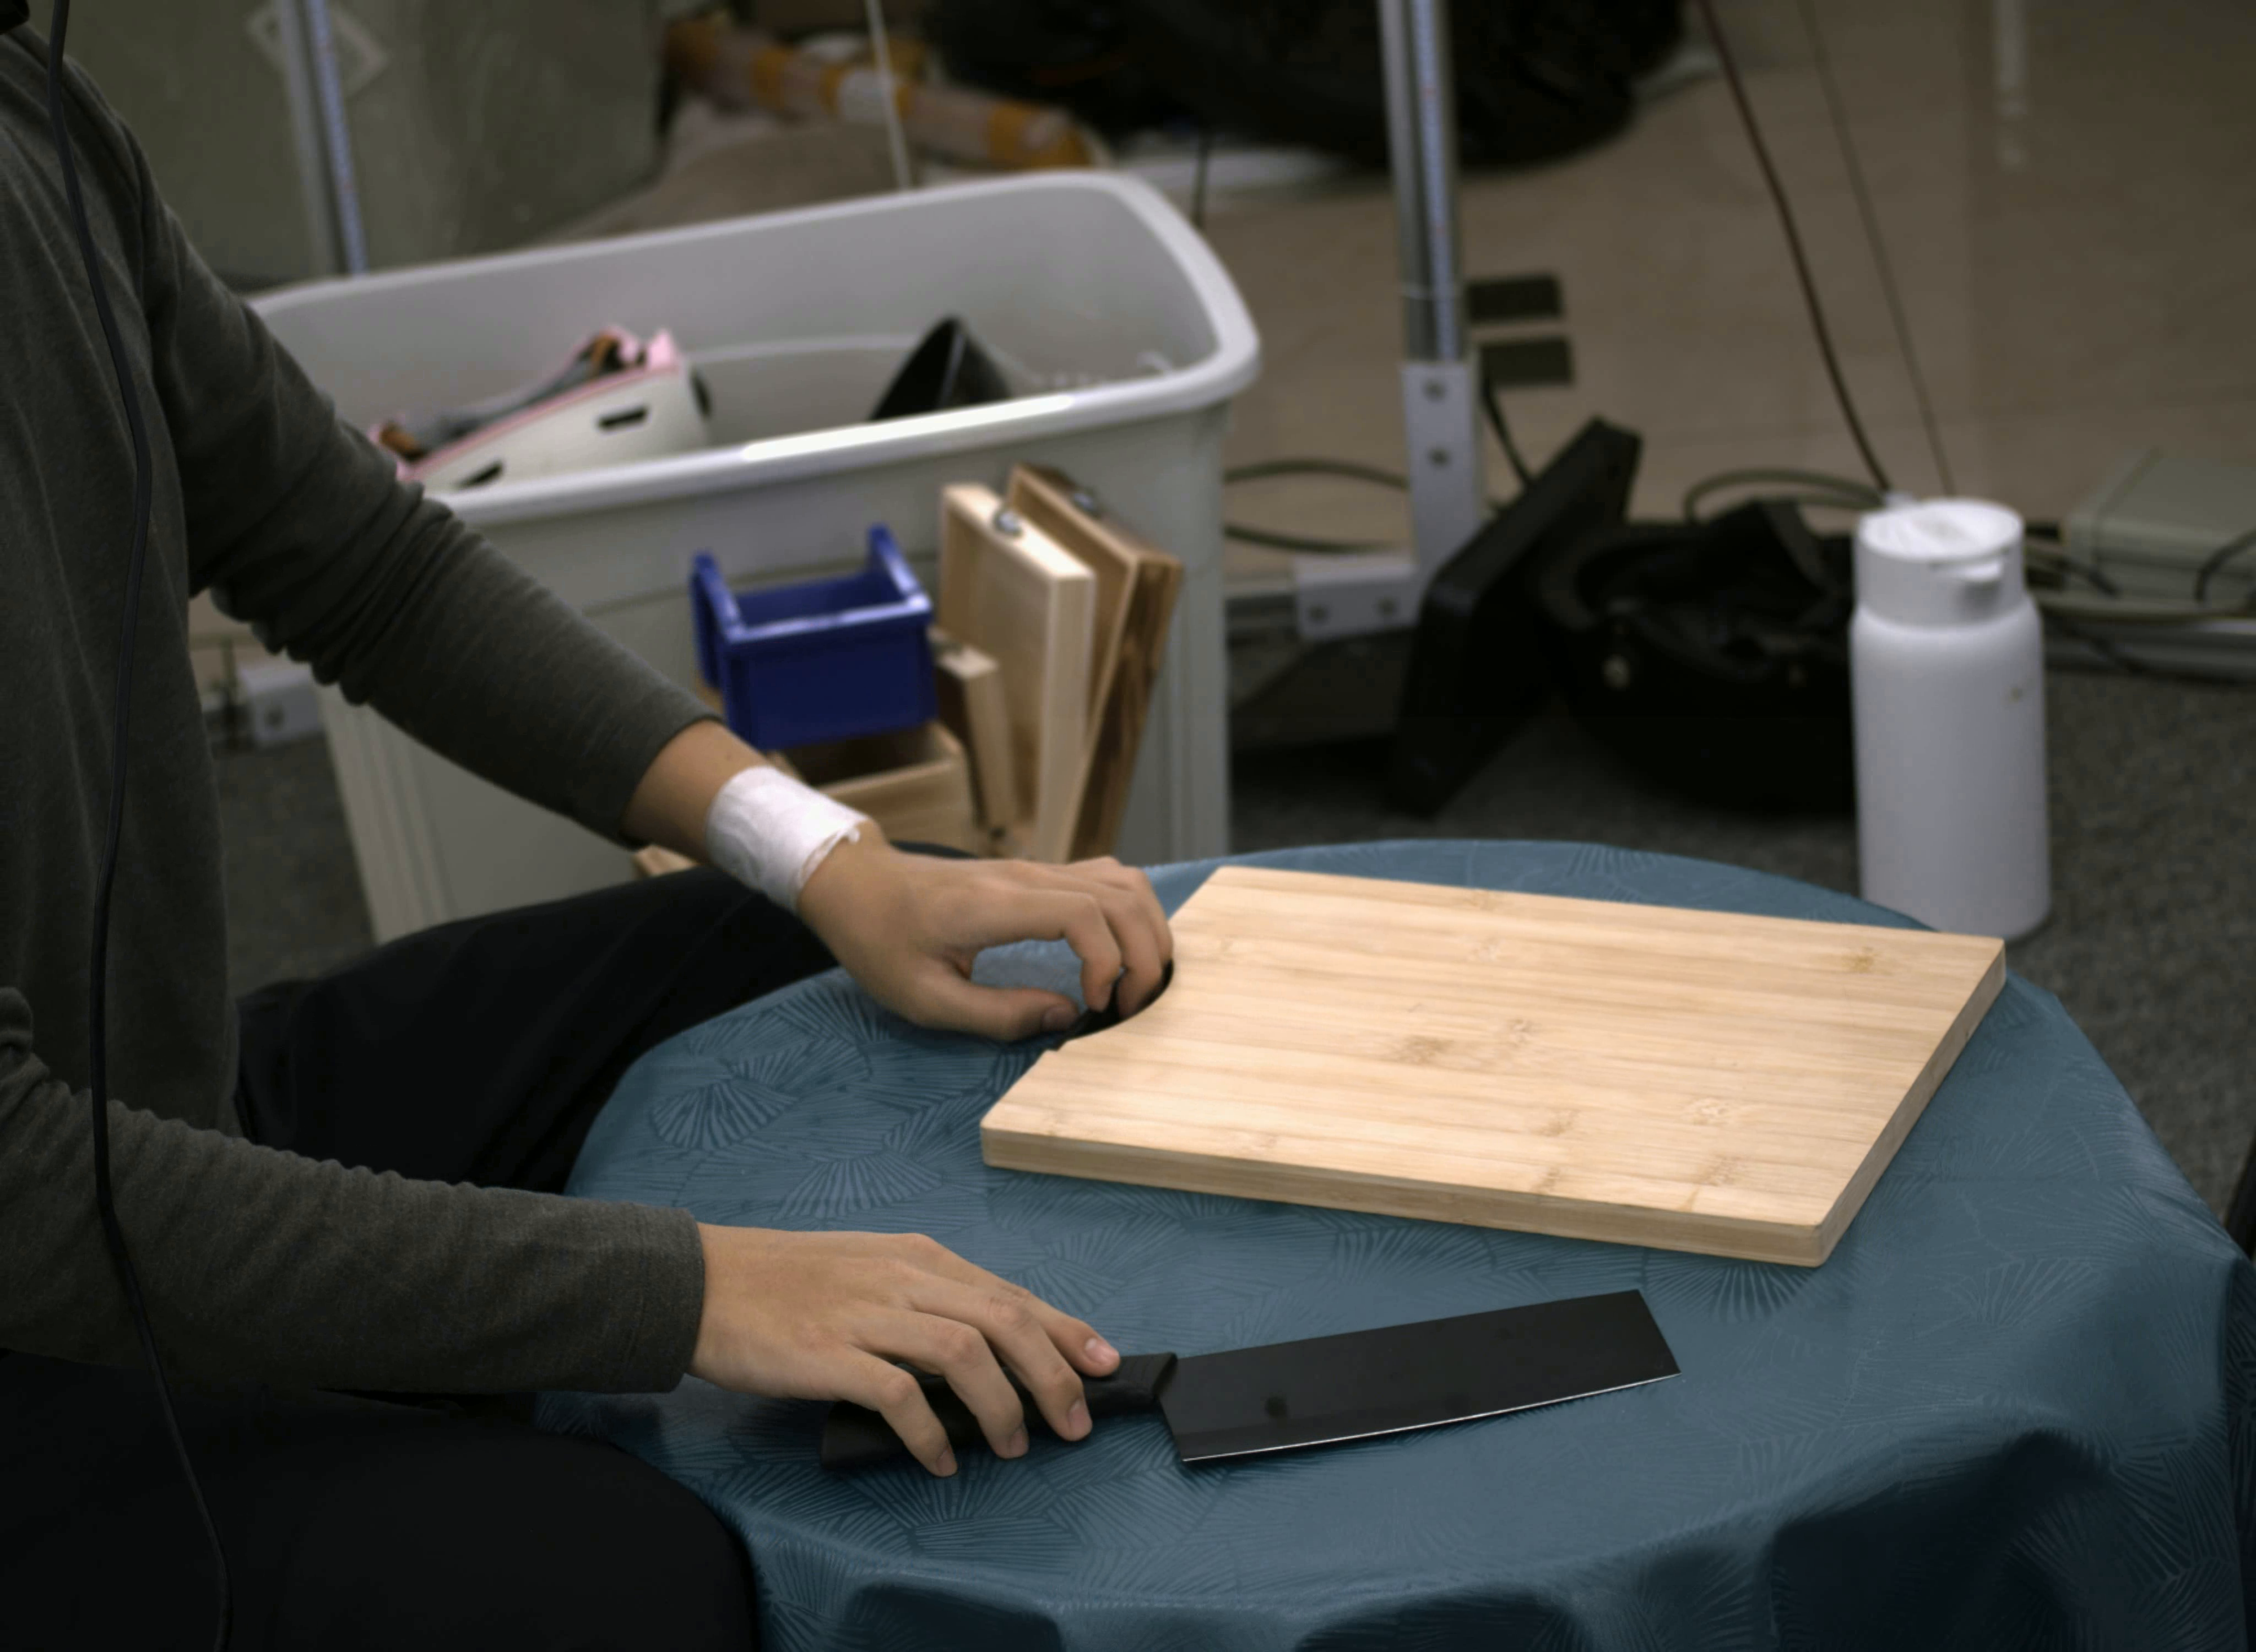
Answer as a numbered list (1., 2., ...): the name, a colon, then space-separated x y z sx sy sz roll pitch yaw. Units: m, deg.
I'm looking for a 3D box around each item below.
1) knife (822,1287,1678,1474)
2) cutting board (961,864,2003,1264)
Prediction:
1. knife: 0.042 0.199 1.996 0.302 0.021 0.080 -6 26 -4
2. cutting board: 0.140 0.088 2.208 0.347 0.024 0.247 5 27 24
